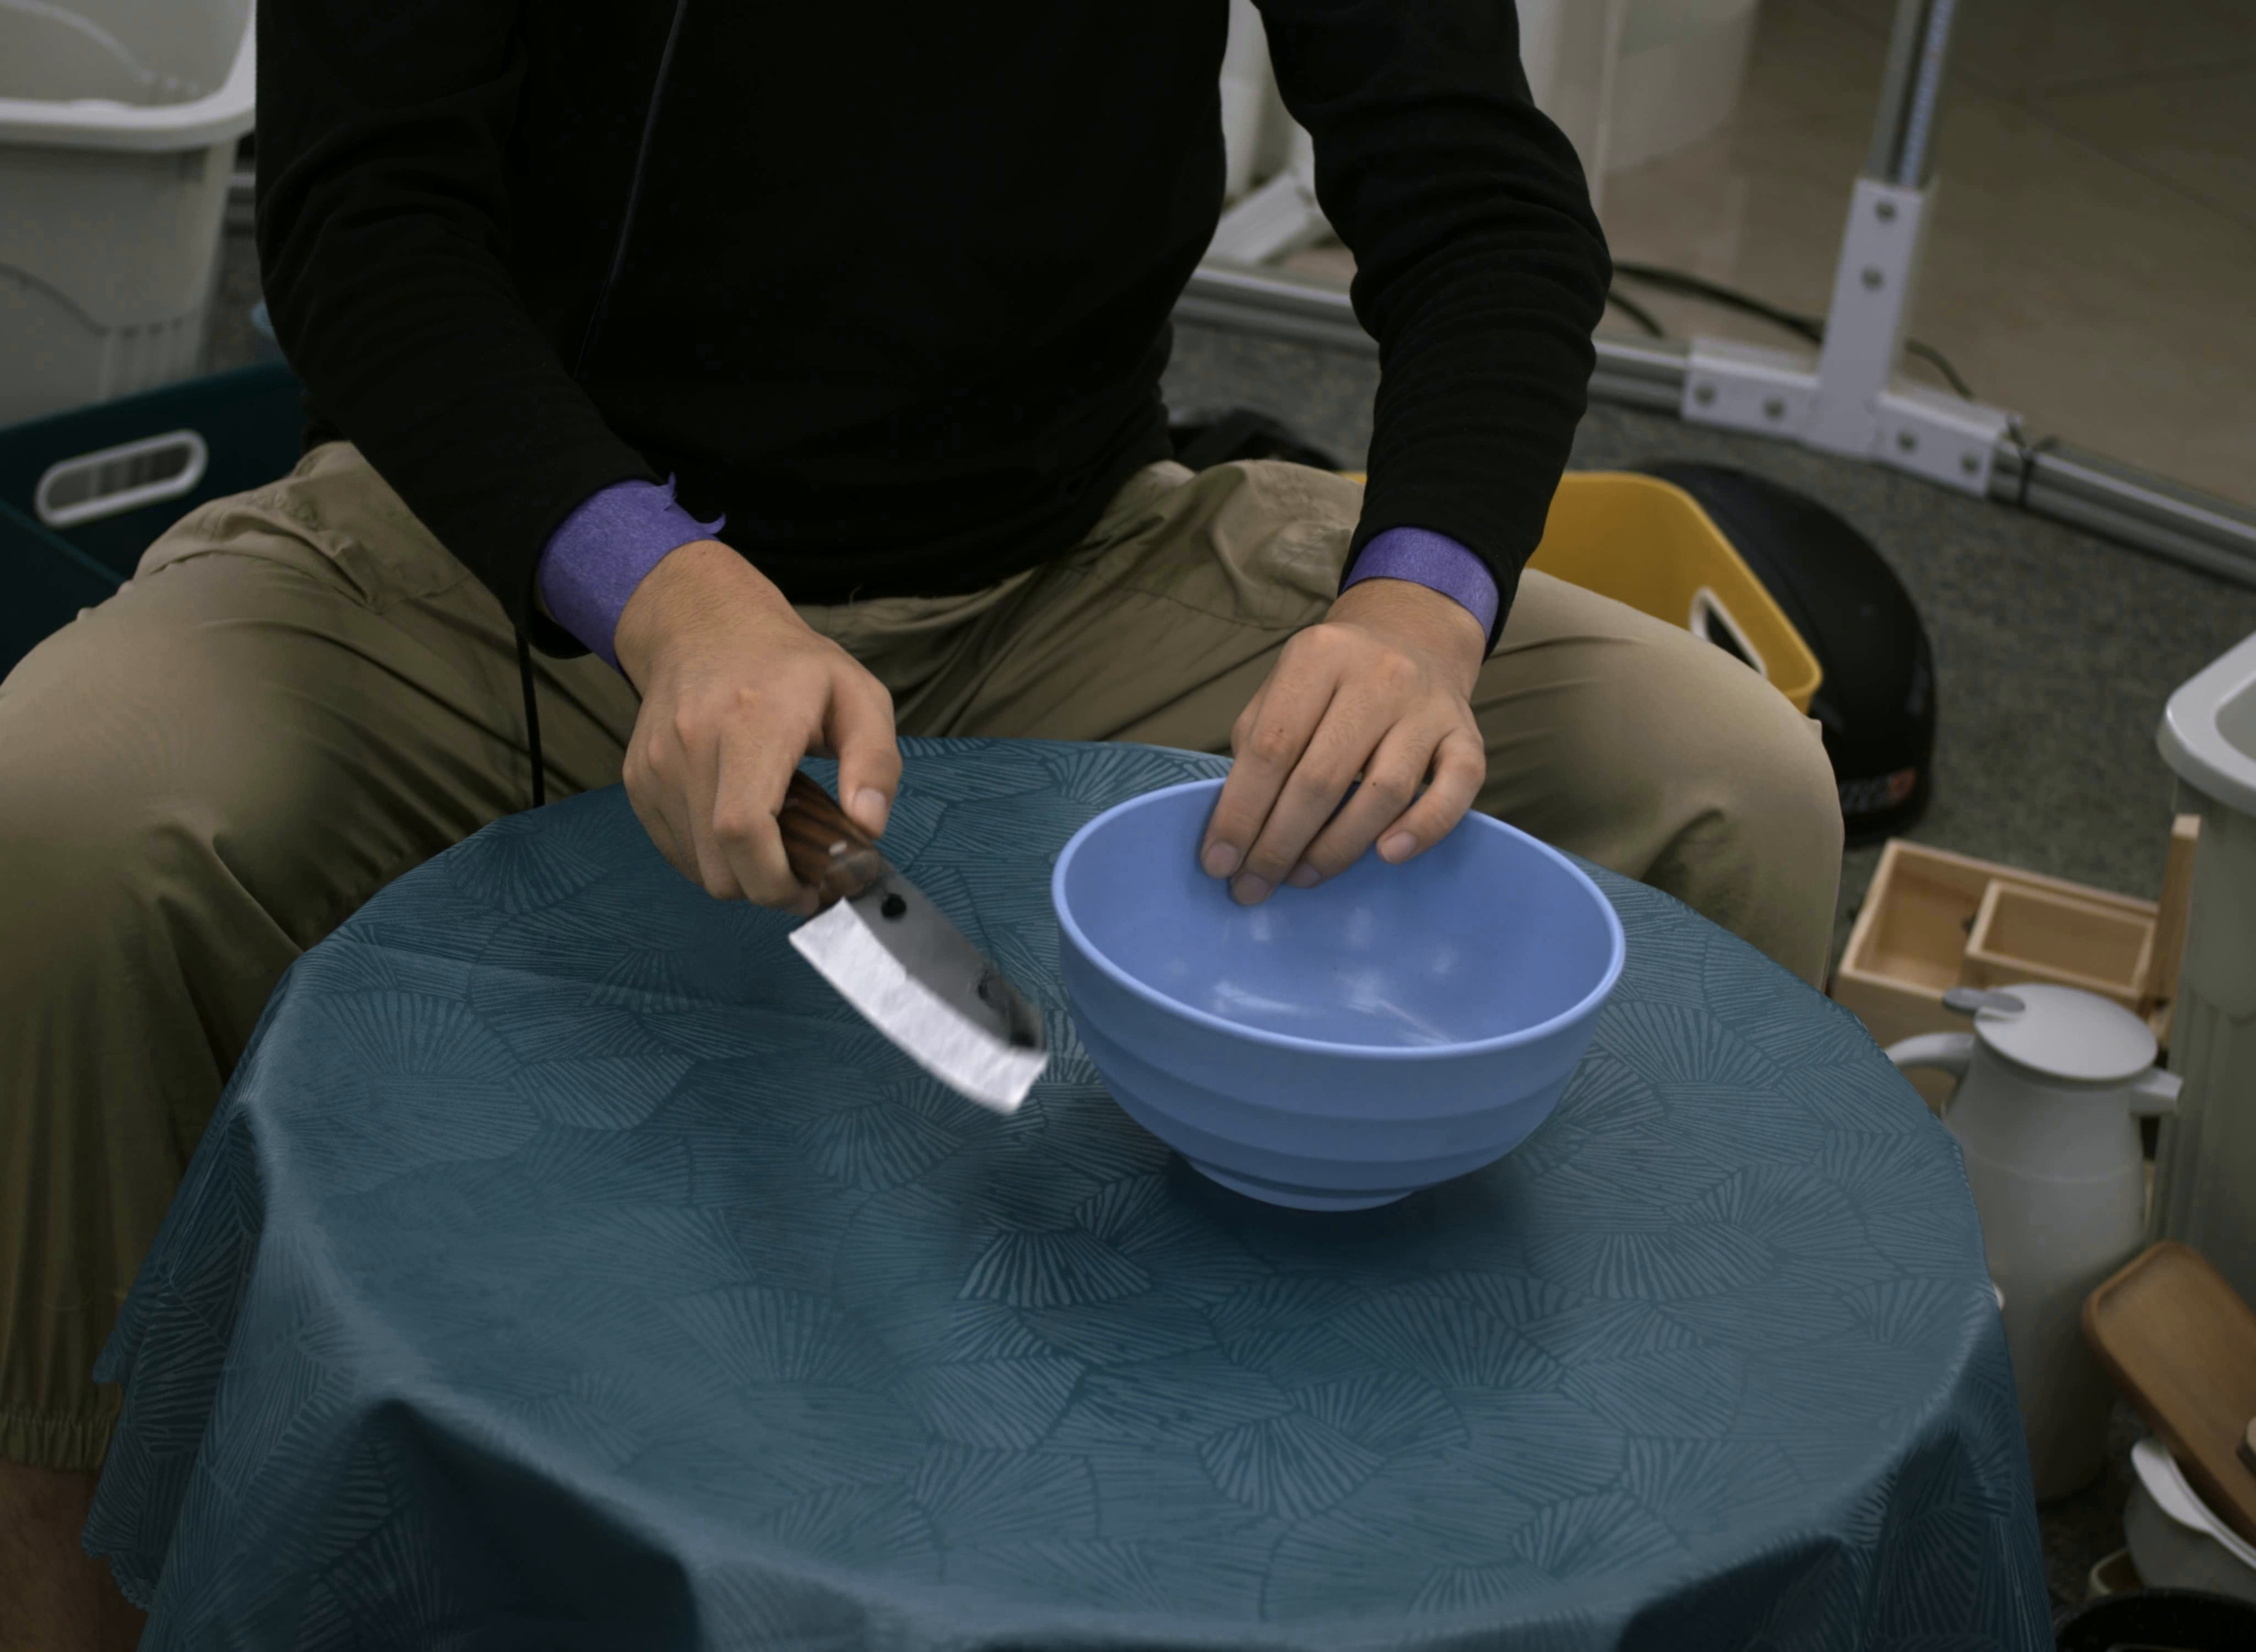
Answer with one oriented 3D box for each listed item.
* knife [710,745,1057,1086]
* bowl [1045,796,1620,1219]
[{"bbox_3d":[-0.084,0.029,1.771,0.050,0.020,0.291,-34,29,-8],"label":"knife"},{"bbox_3d":[0.065,0.072,1.825,0.196,0.095,0.197,4,24,-2],"label":"bowl"}]
